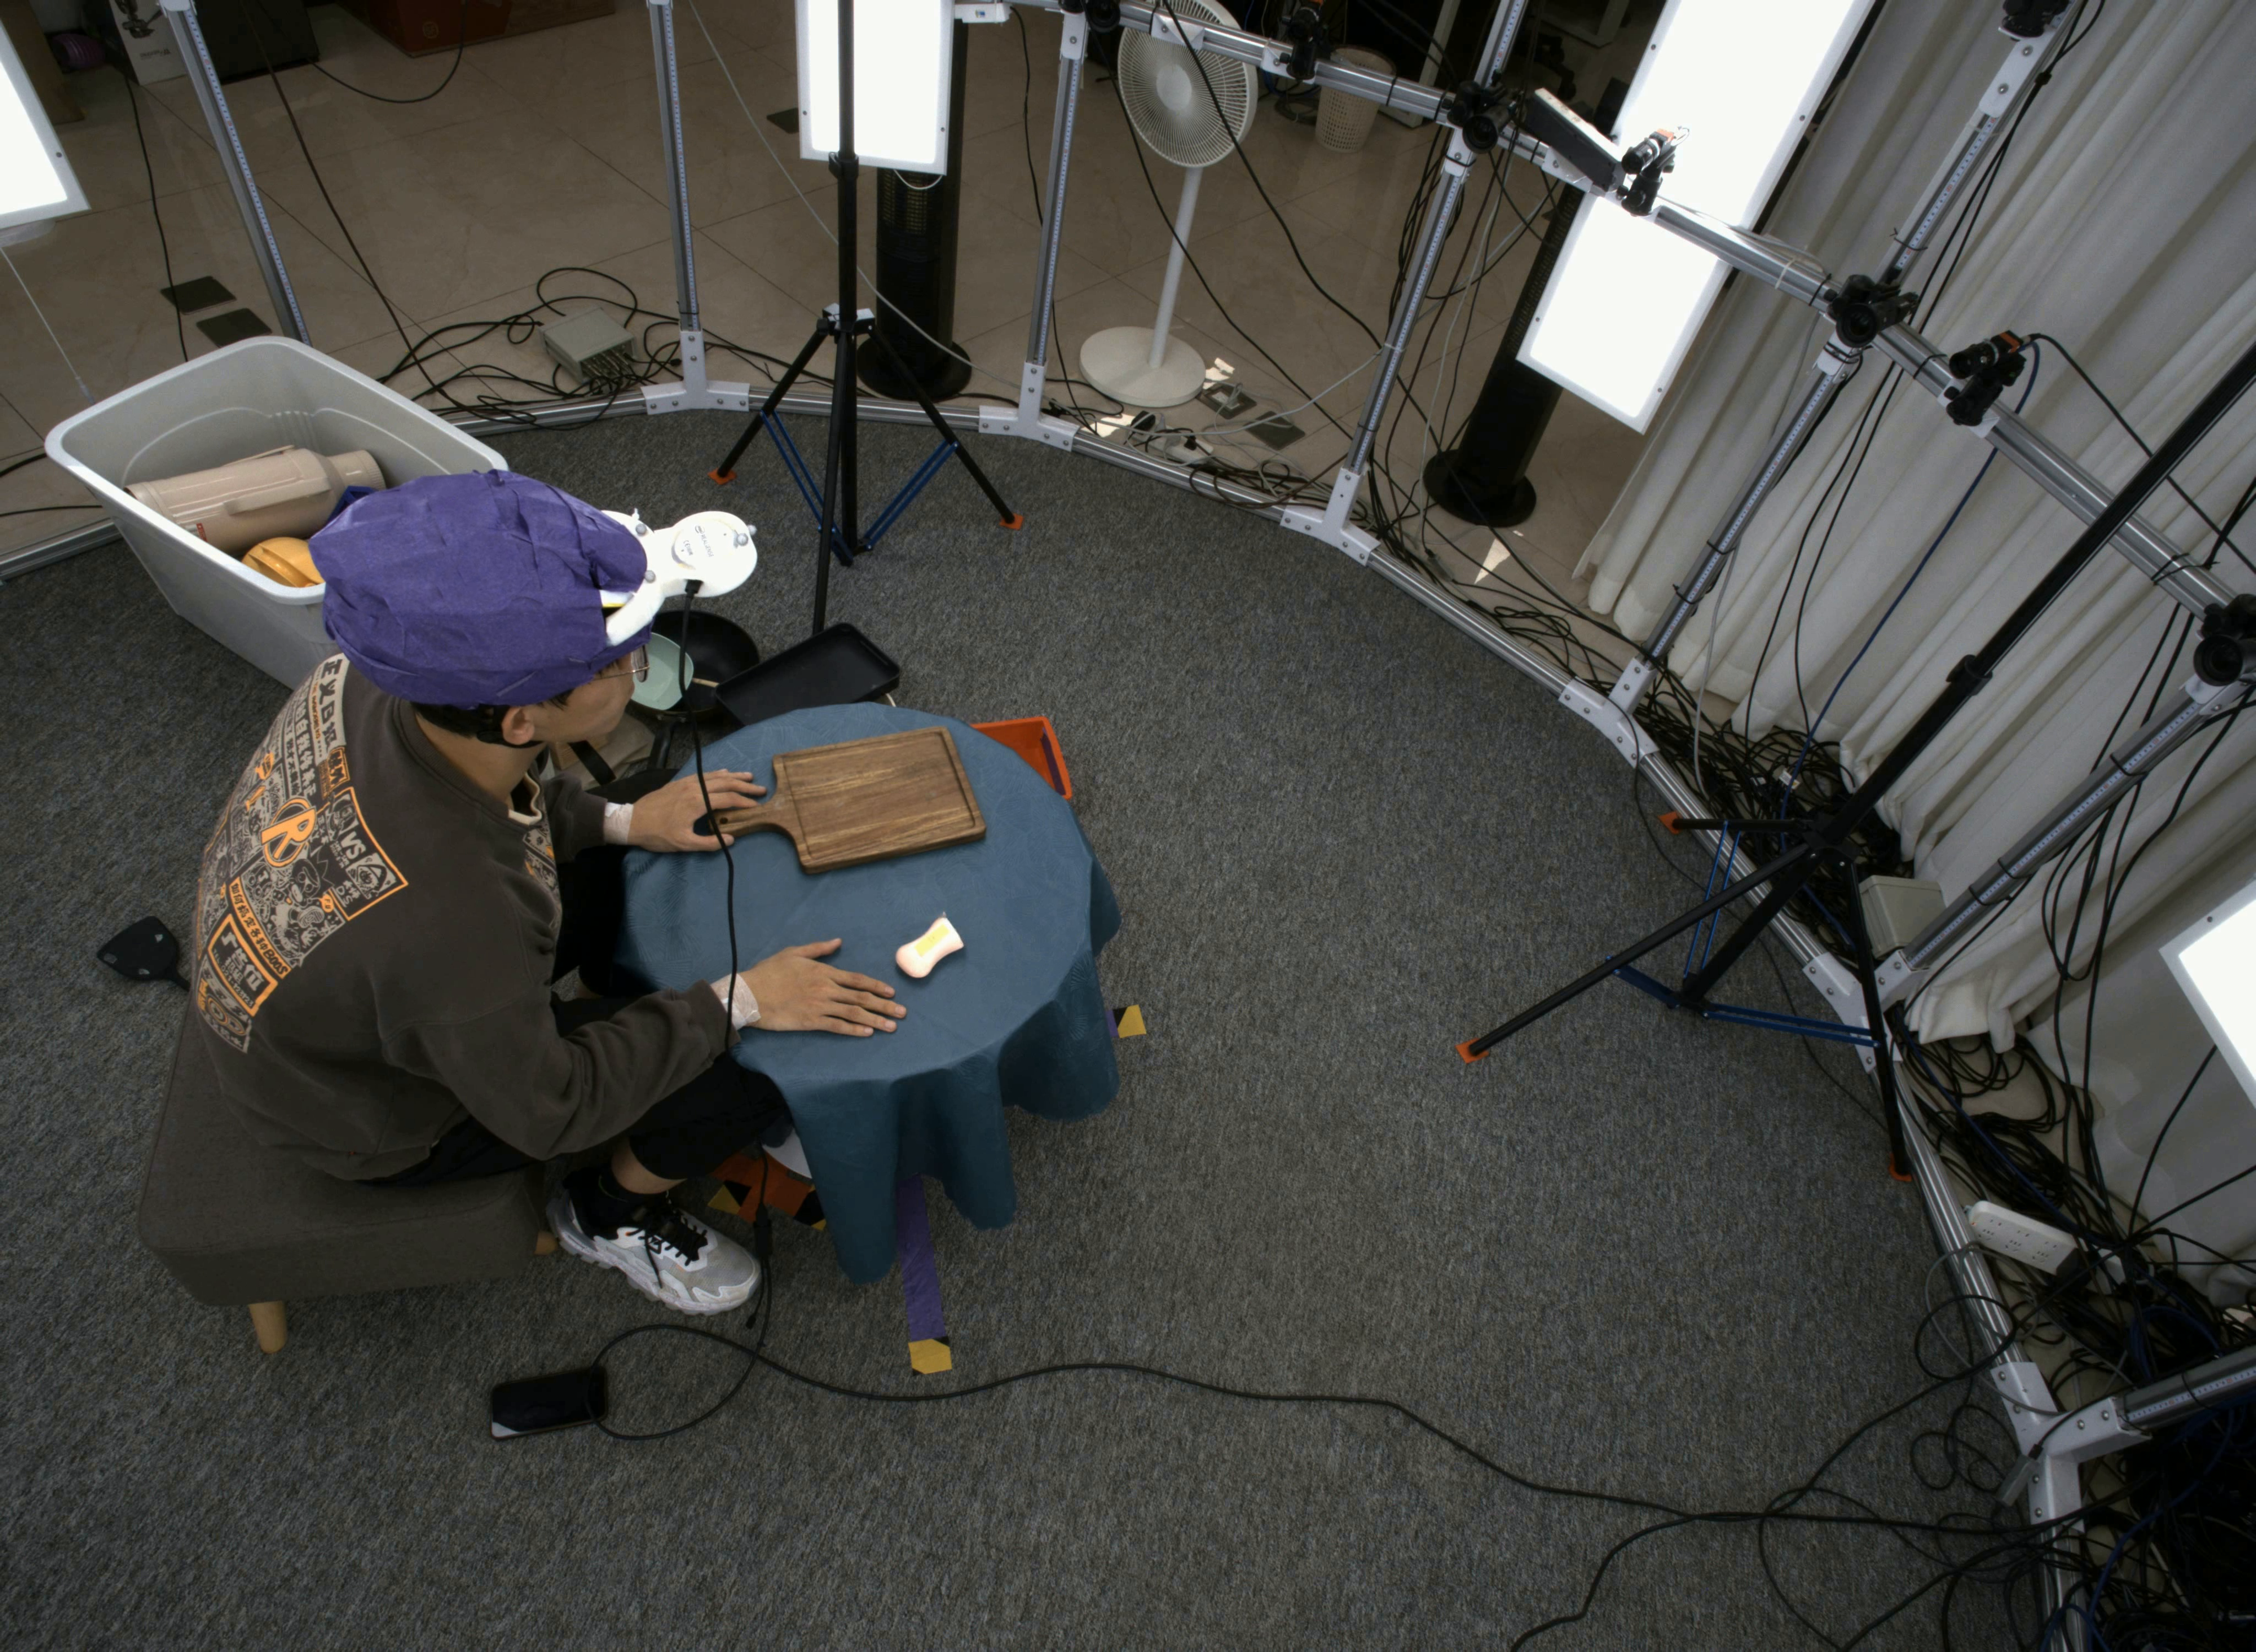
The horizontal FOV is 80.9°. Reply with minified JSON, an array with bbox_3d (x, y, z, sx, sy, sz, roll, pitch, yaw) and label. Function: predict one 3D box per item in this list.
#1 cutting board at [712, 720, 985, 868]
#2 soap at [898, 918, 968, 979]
[{"bbox_3d":[-0.386,-0.040,1.764,0.353,0.023,0.196,-11,58,-21],"label":"cutting board"},{"bbox_3d":[-0.247,0.153,1.652,0.049,0.031,0.094,40,57,18],"label":"soap"}]
